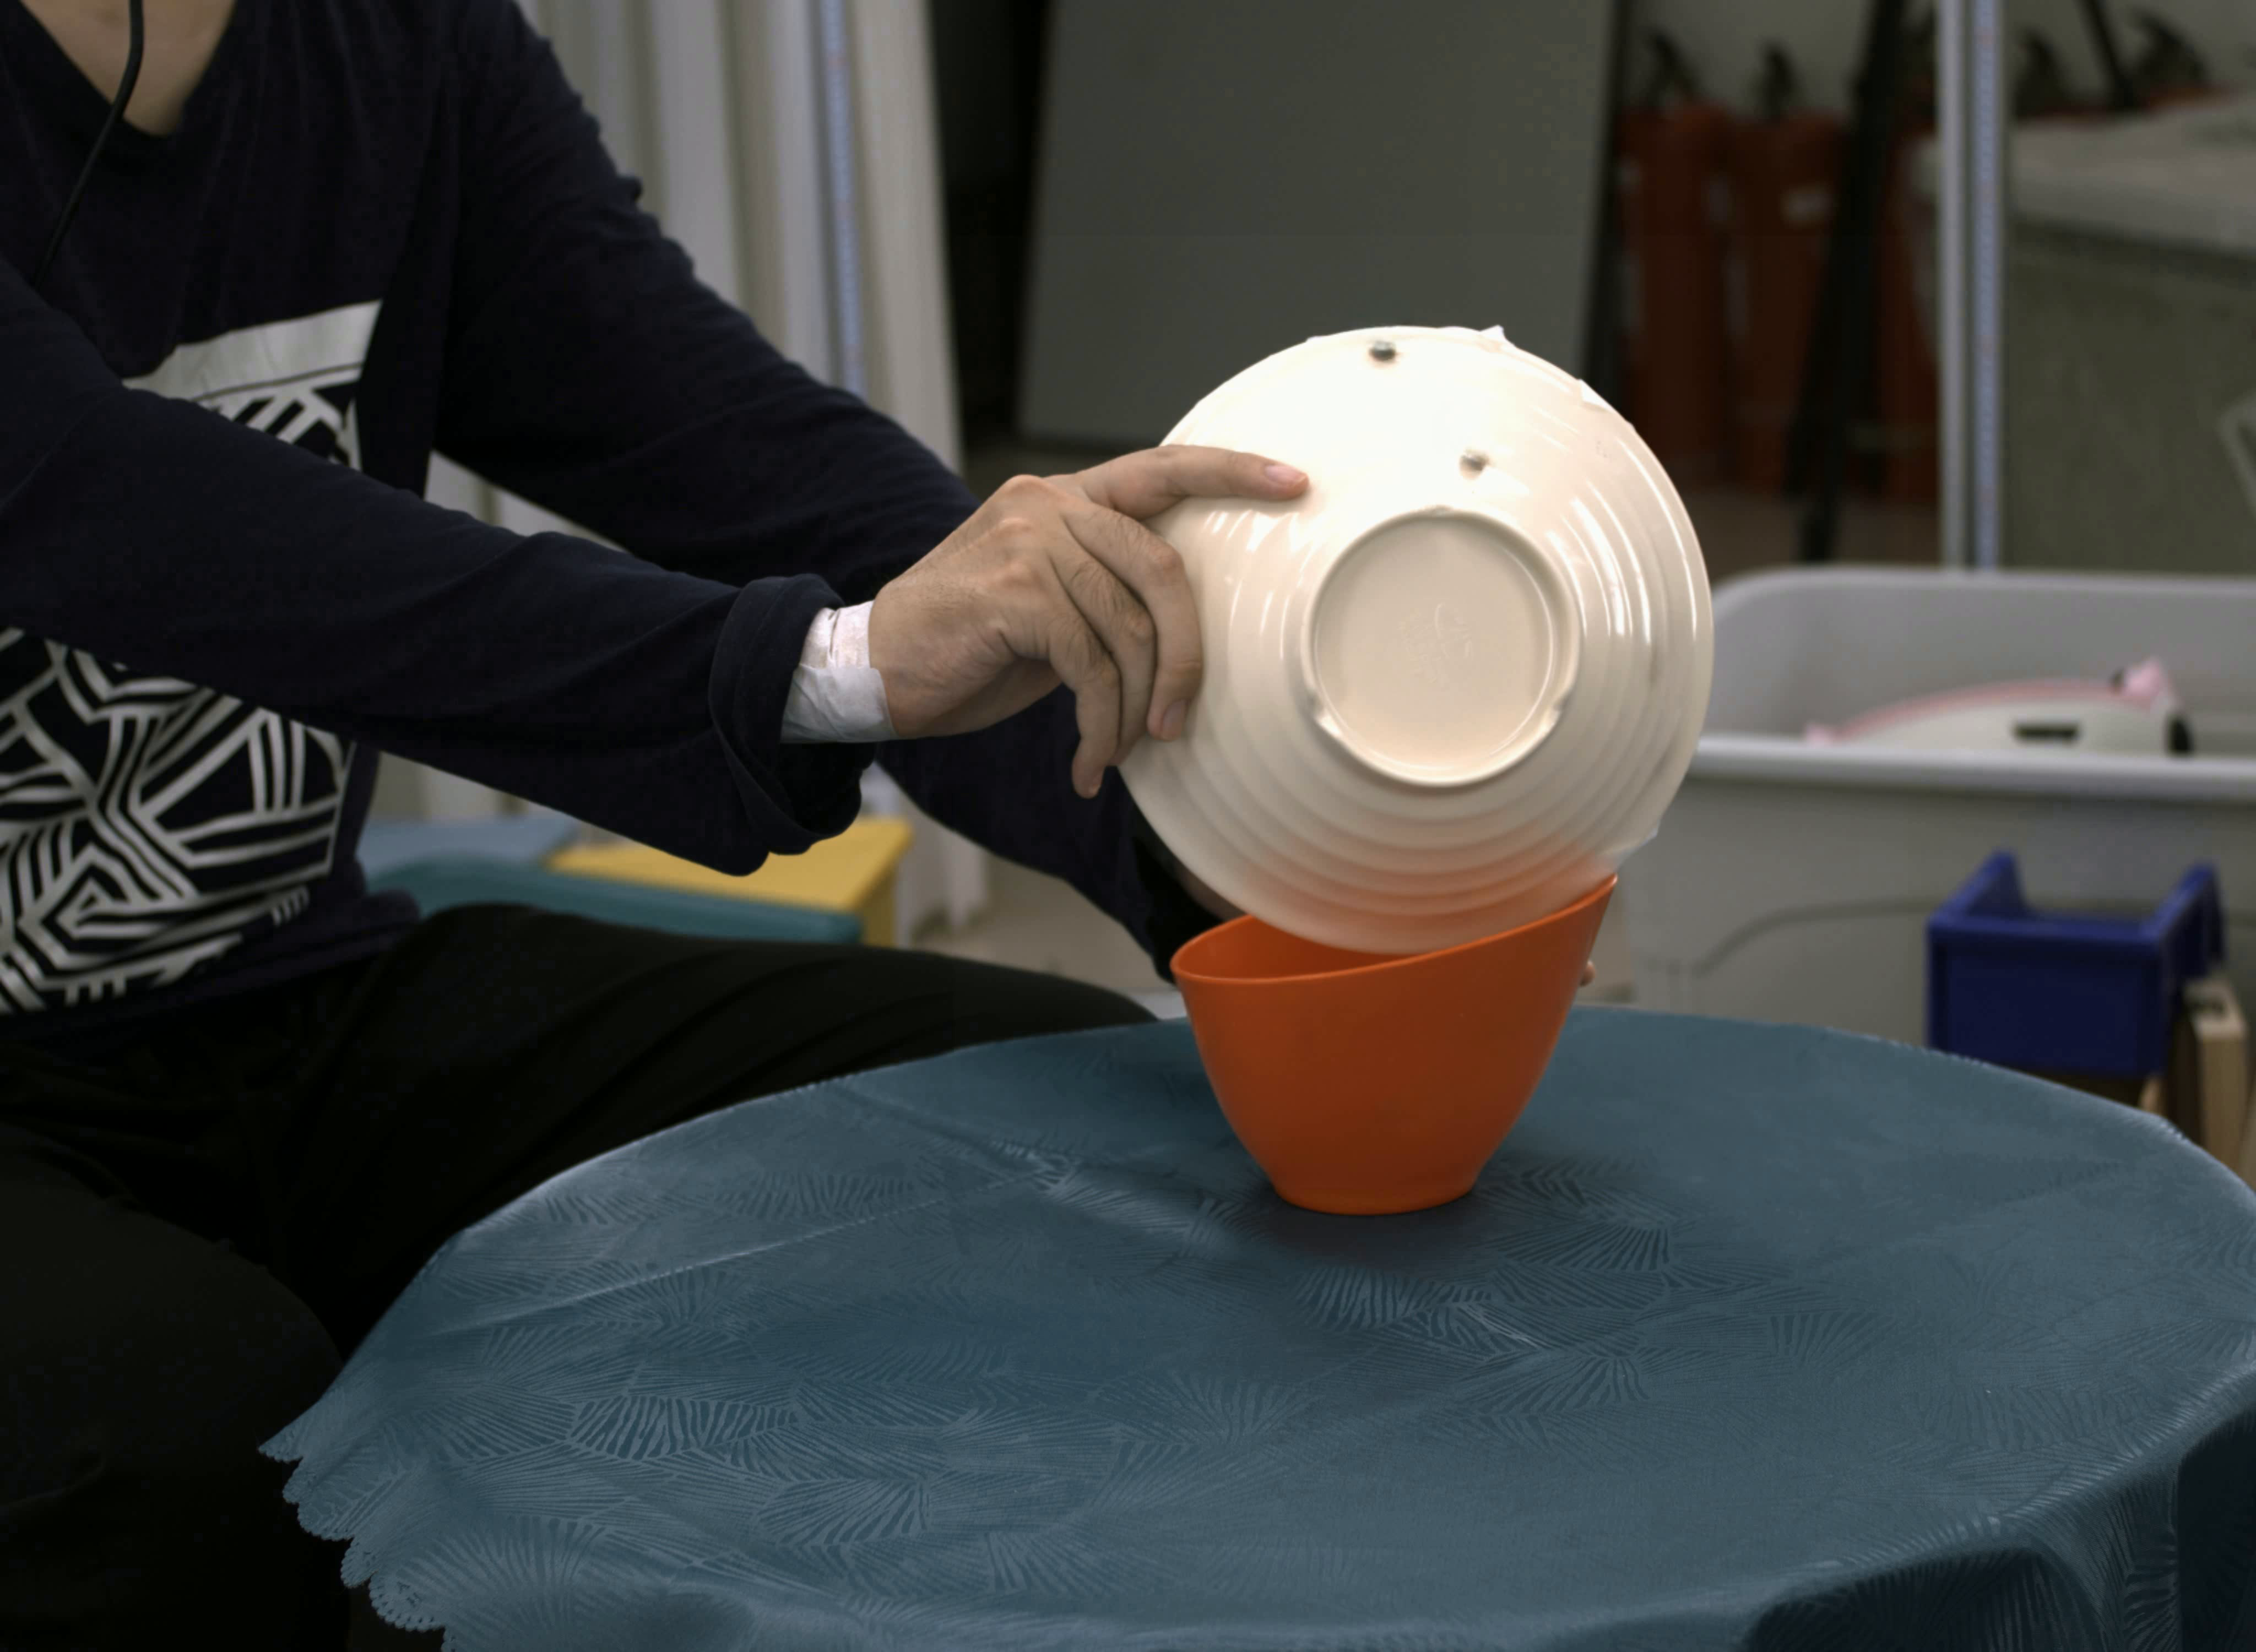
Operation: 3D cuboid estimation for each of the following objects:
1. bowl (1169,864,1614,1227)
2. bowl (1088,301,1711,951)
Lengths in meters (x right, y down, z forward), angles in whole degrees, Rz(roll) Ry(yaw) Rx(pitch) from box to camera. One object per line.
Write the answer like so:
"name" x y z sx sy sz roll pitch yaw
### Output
"bowl" 0.088 0.071 1.745 0.146 0.106 0.148 -5 12 0
"bowl" 0.091 -0.063 1.682 0.201 0.206 0.078 -5 1 -5
